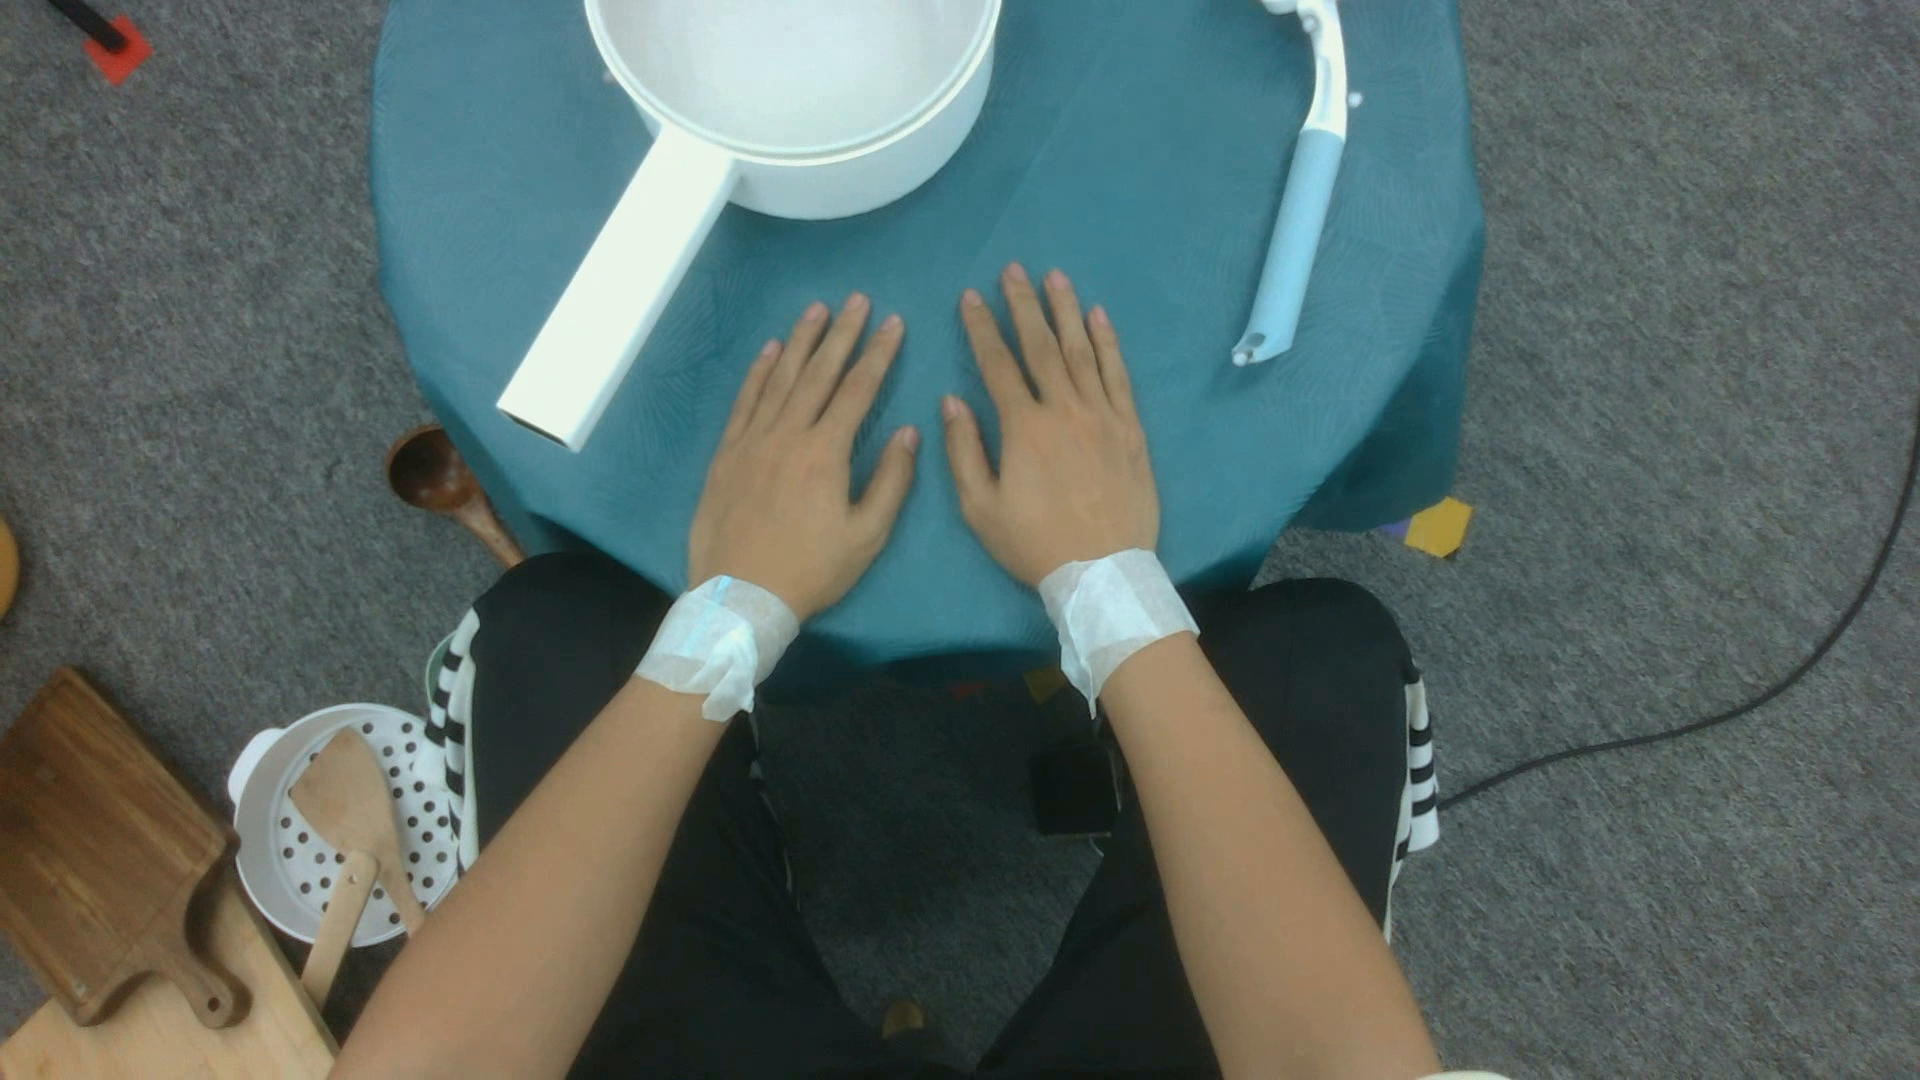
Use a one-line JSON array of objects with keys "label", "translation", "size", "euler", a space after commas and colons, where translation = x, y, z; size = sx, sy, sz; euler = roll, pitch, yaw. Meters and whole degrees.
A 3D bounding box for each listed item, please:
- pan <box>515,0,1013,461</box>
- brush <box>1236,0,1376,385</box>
[{"label": "pan", "translation": [-0.108, -0.195, 0.709], "size": [0.201, 0.102, 0.355], "euler": [27, 81, 5]}, {"label": "brush", "translation": [0.179, -0.241, 0.725], "size": [0.084, 0.083, 0.326], "euler": [18, 79, -2]}]
